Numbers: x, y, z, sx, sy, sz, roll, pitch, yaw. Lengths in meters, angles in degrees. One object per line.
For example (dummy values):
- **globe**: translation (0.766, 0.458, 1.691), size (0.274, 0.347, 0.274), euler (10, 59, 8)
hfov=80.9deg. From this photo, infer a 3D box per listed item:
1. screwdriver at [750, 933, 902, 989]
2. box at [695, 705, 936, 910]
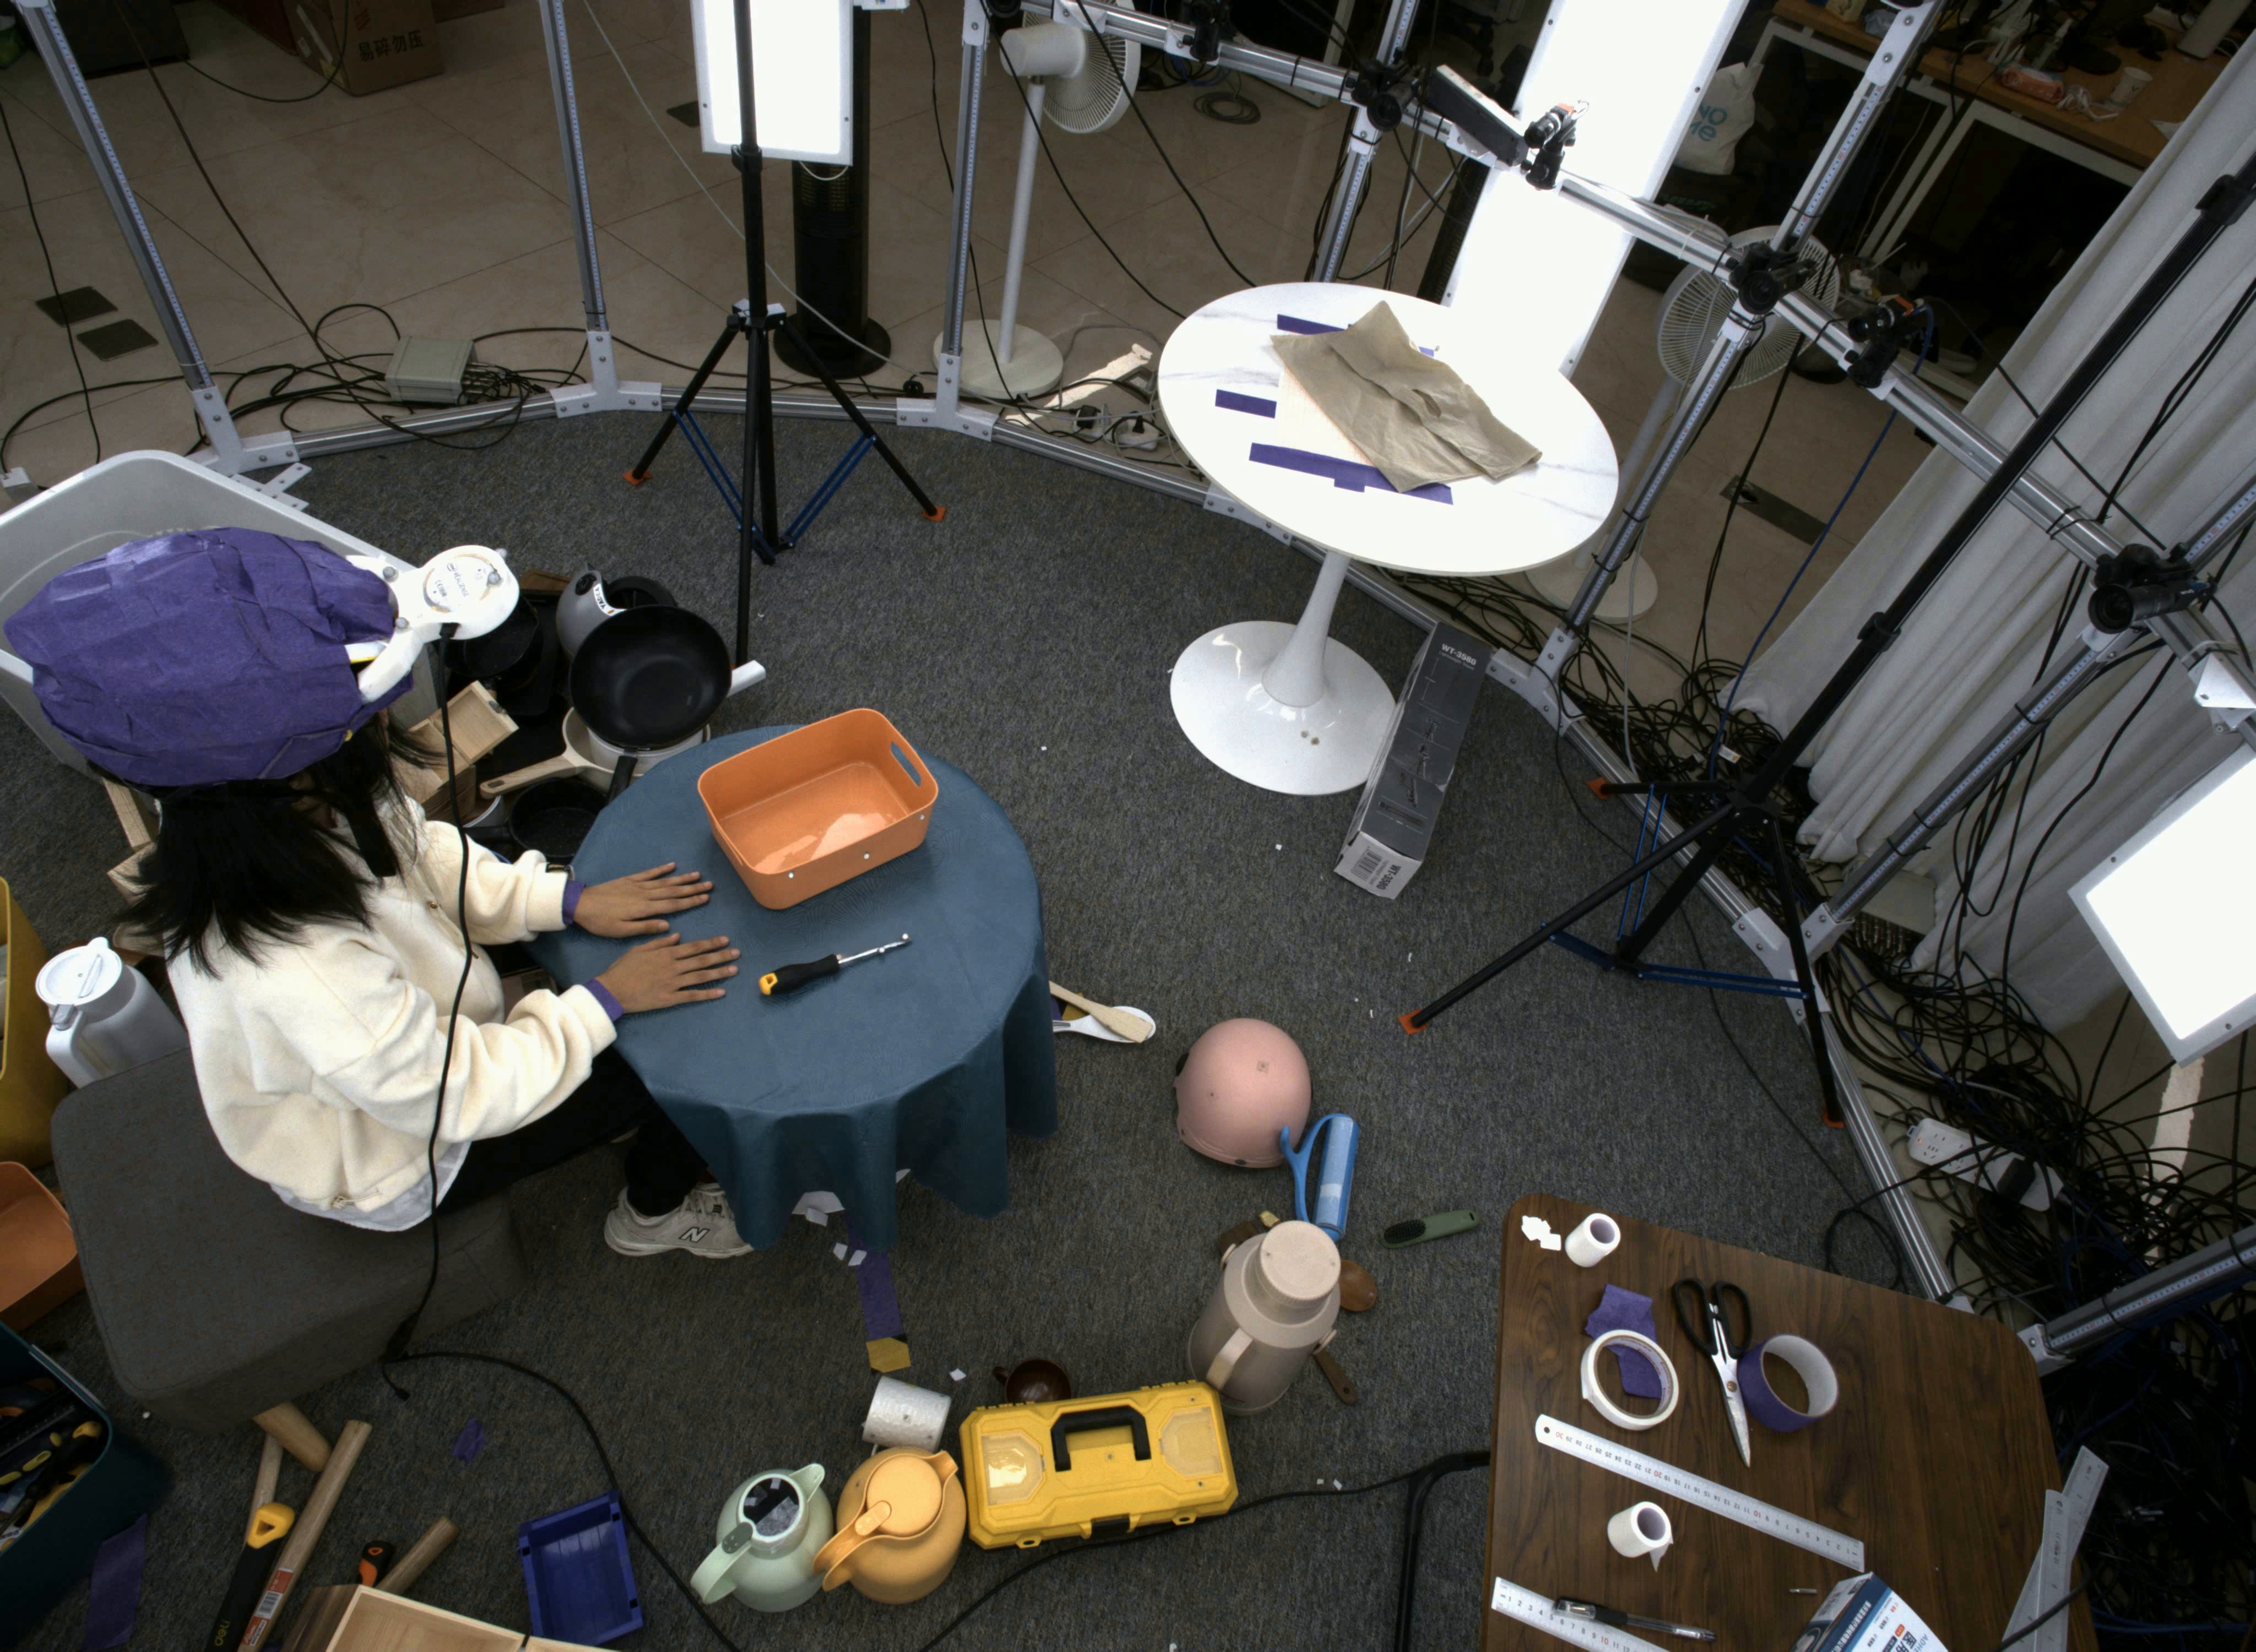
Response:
- **screwdriver**: translation (-0.368, 0.156, 1.587), size (0.200, 0.032, 0.030), euler (-18, 58, -36)
- **box**: translation (-0.402, -0.024, 1.675), size (0.274, 0.104, 0.195), euler (-28, 65, -30)
